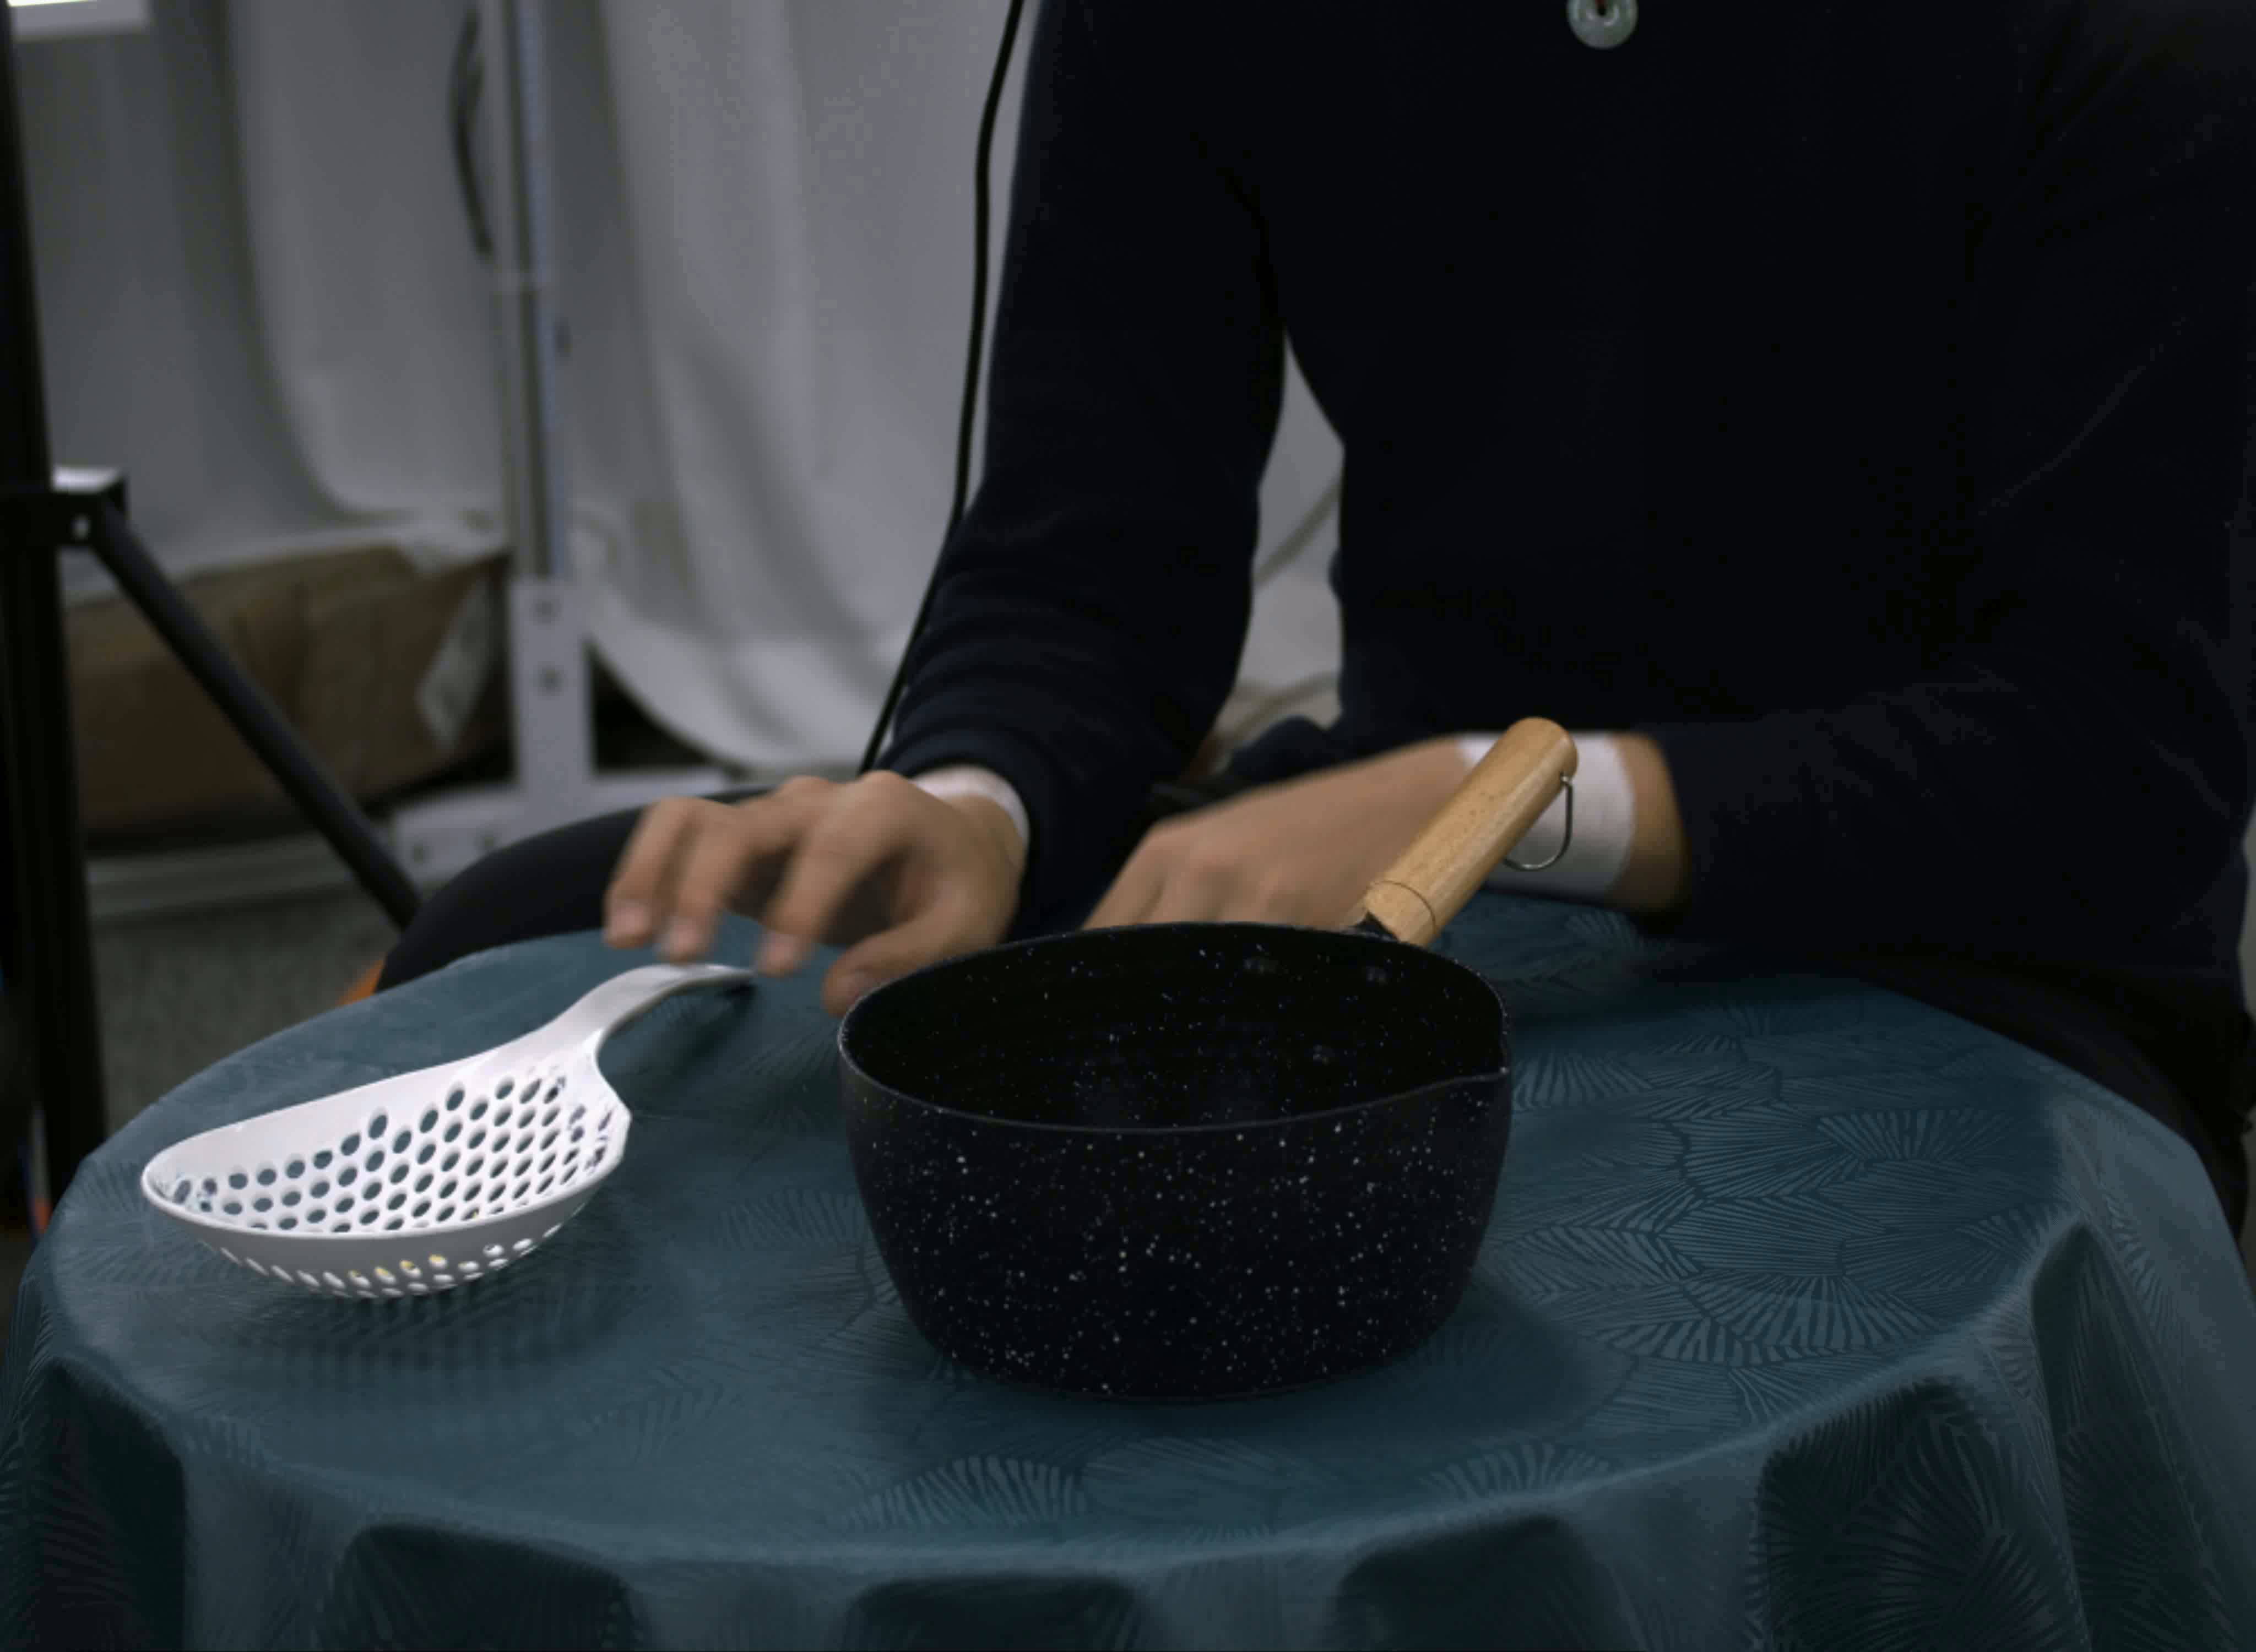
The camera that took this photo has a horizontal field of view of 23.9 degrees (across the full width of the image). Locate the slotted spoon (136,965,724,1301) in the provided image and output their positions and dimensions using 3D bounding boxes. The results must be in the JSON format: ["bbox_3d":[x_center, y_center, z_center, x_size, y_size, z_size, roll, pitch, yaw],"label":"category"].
[{"bbox_3d":[-0.179,0.079,1.611,0.138,0.050,0.345,0,18,16],"label":"slotted spoon"}]

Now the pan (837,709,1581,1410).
[{"bbox_3d":[0.050,0.061,1.517,0.211,0.108,0.337,5,18,28],"label":"pan"}]
